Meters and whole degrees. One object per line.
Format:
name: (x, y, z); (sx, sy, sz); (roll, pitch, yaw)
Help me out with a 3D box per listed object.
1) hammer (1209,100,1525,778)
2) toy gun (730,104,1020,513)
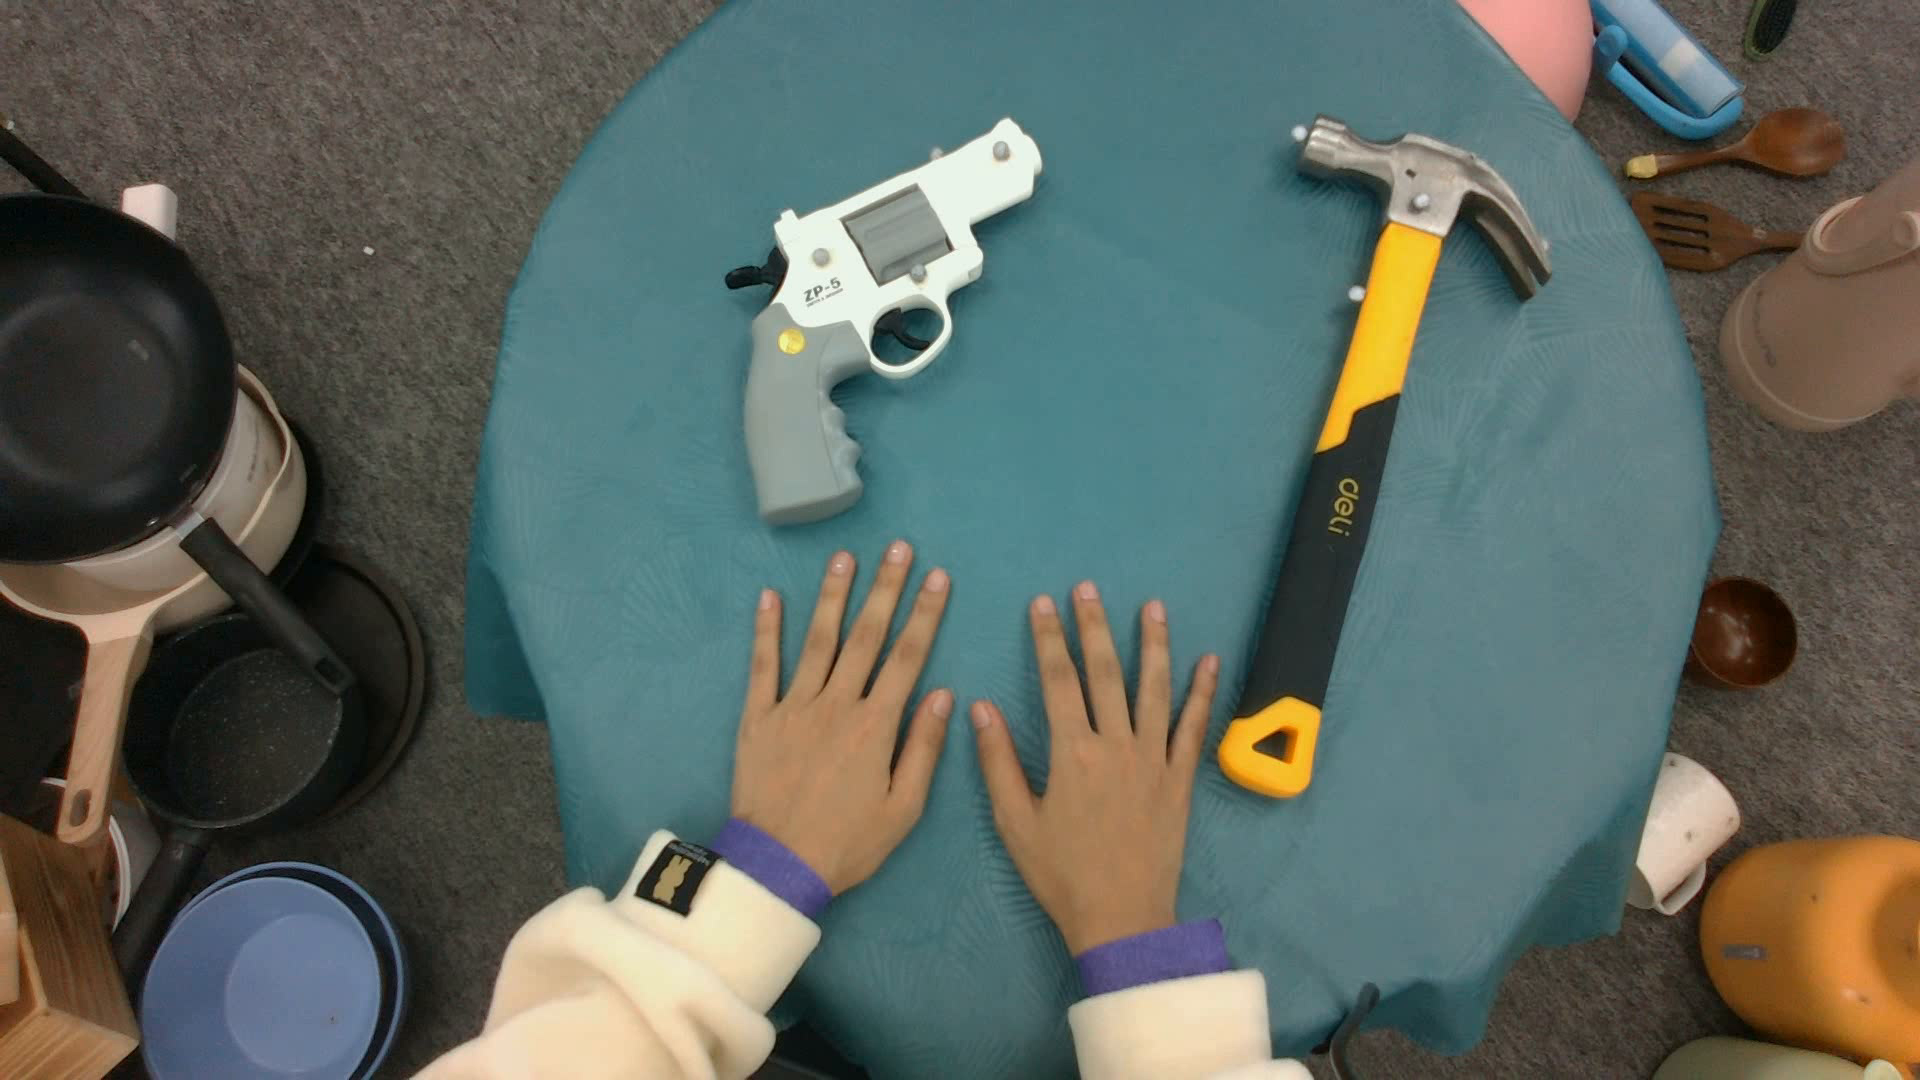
hammer: (0.180, -0.051, 0.659); (0.131, 0.032, 0.339); (18, 74, 1)
toy gun: (-0.038, -0.116, 0.668); (0.209, 0.038, 0.142); (-30, 77, -10)
